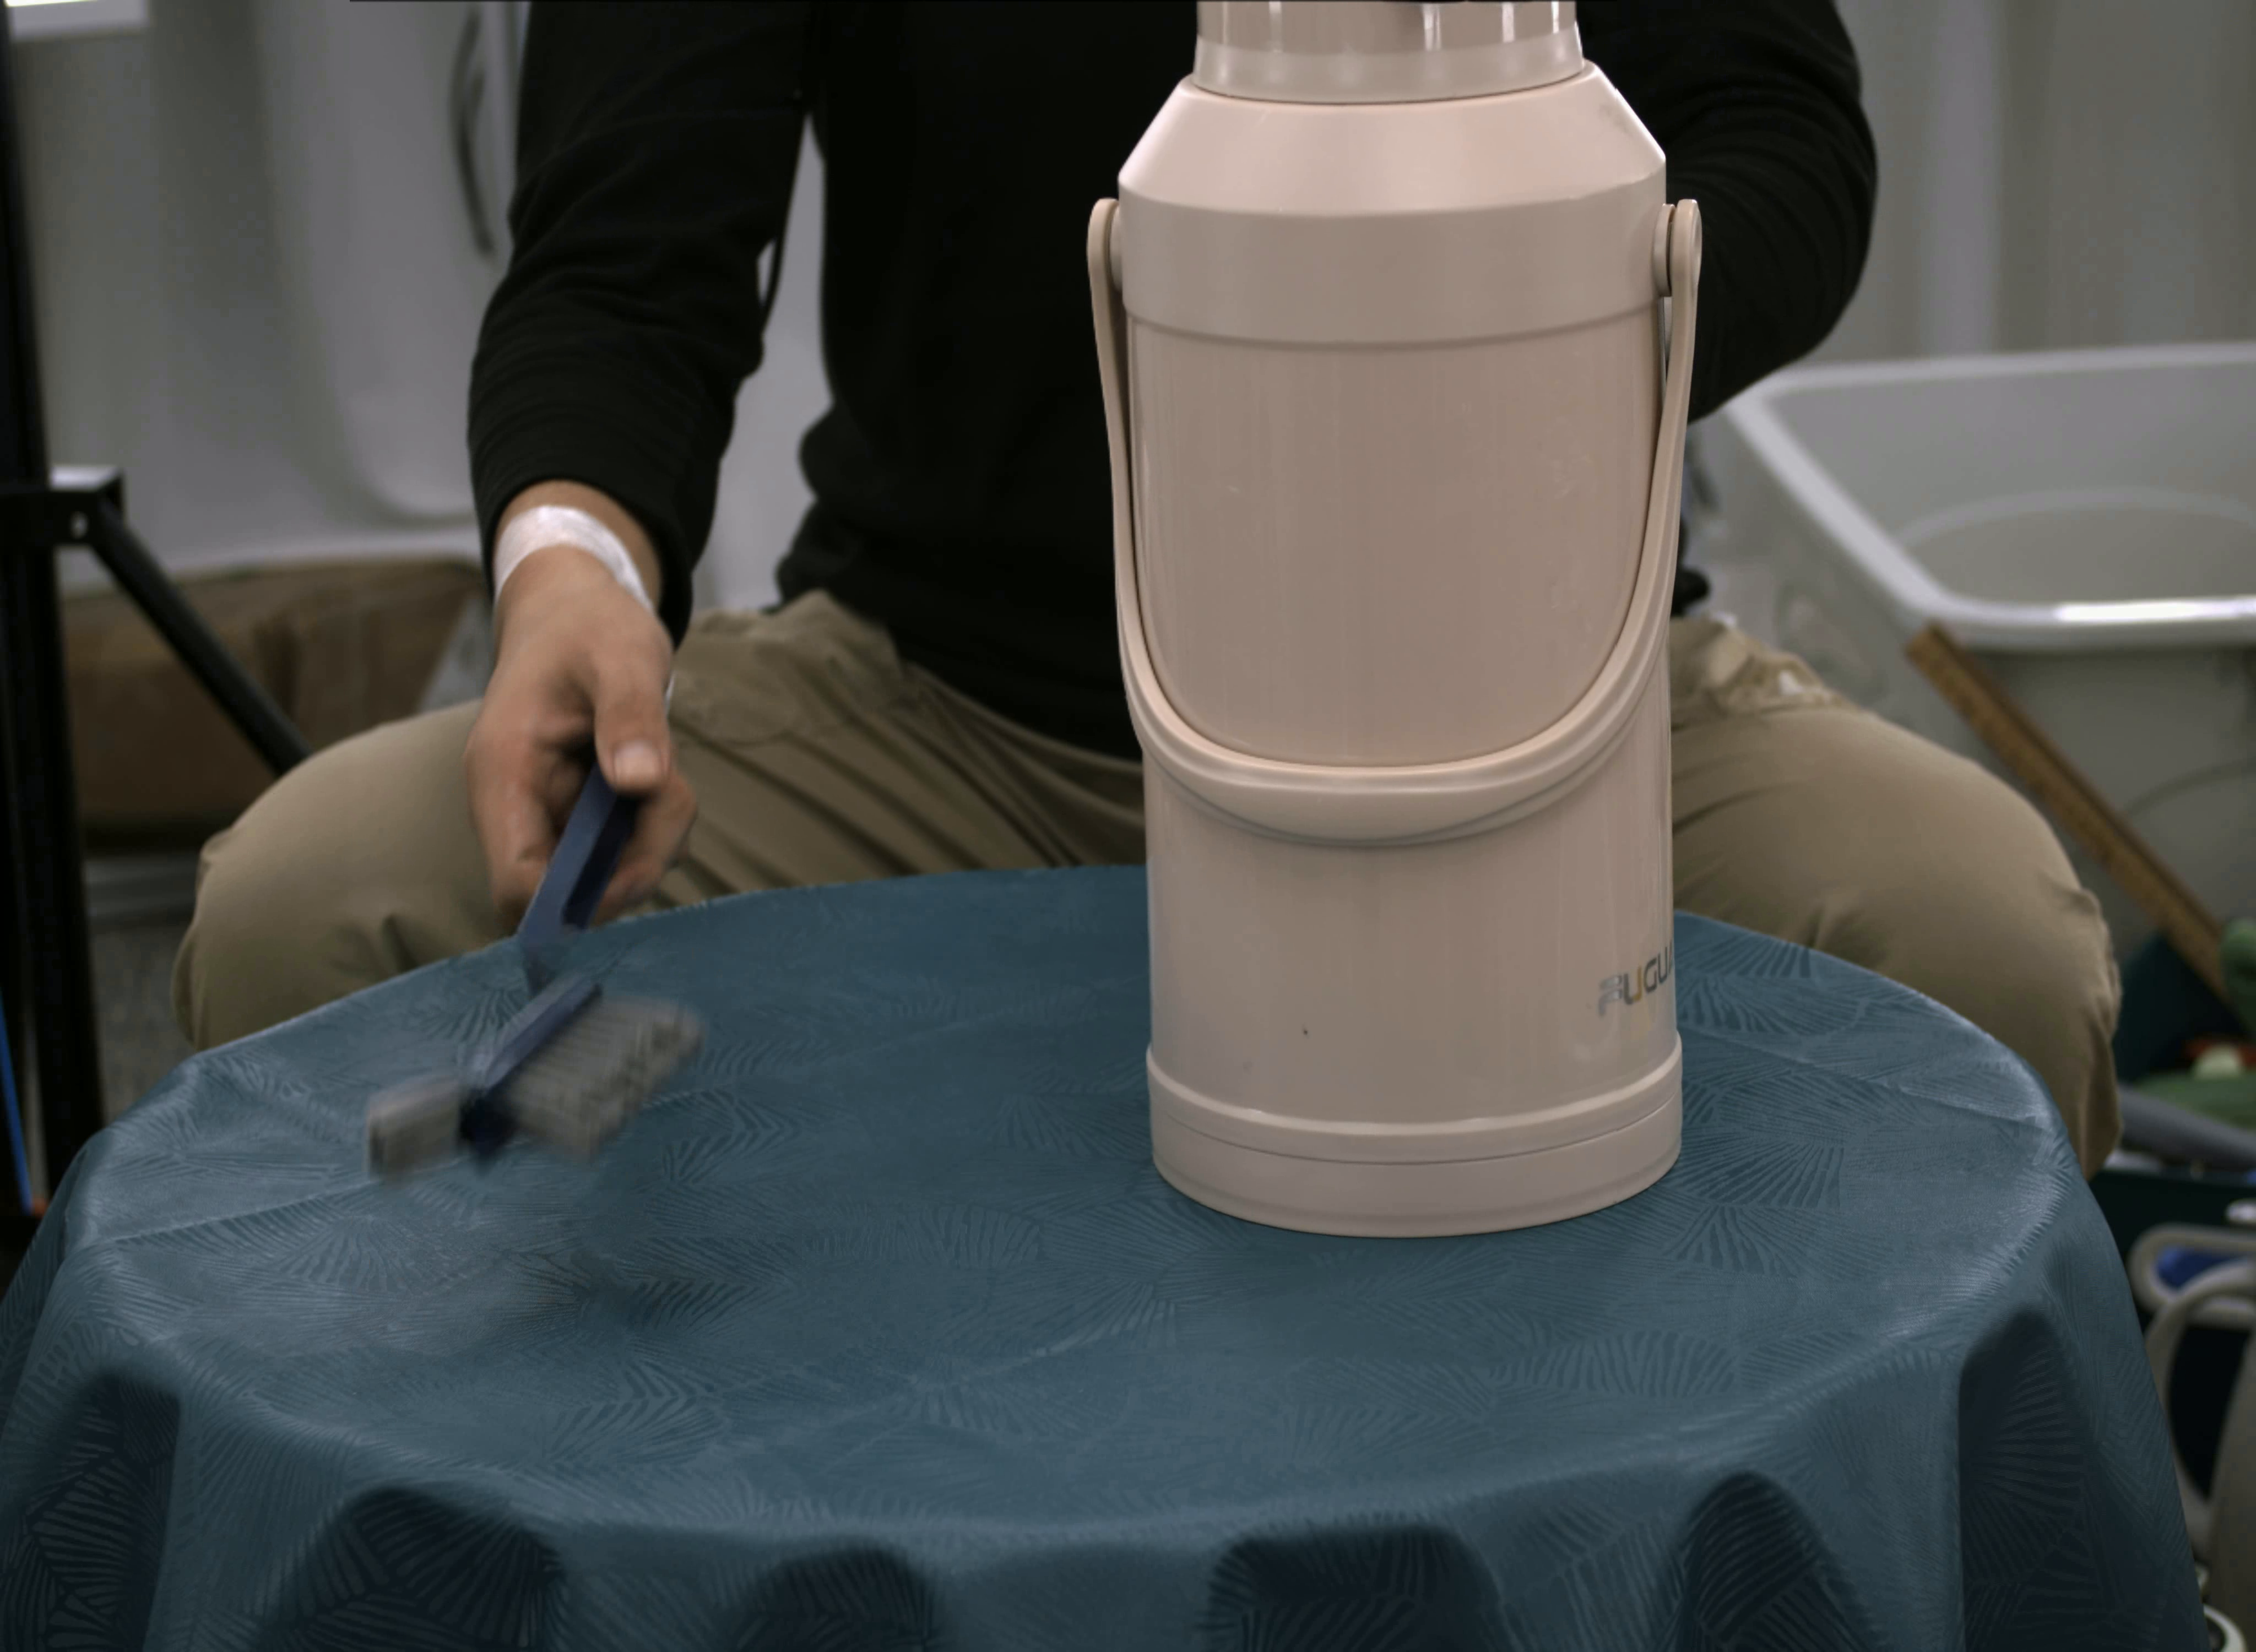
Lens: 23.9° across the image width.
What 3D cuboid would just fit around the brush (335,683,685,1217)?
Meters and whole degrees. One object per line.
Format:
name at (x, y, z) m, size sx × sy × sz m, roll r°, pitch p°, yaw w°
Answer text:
brush at (-0.177, 0.033, 1.585) m, size 0.095 × 0.033 × 0.275 m, roll -2°, pitch 28°, yaw -2°

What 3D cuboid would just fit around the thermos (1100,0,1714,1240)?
thermos at (0.087, -0.098, 1.545) m, size 0.176 × 0.406 × 0.205 m, roll 0°, pitch 15°, yaw 15°
